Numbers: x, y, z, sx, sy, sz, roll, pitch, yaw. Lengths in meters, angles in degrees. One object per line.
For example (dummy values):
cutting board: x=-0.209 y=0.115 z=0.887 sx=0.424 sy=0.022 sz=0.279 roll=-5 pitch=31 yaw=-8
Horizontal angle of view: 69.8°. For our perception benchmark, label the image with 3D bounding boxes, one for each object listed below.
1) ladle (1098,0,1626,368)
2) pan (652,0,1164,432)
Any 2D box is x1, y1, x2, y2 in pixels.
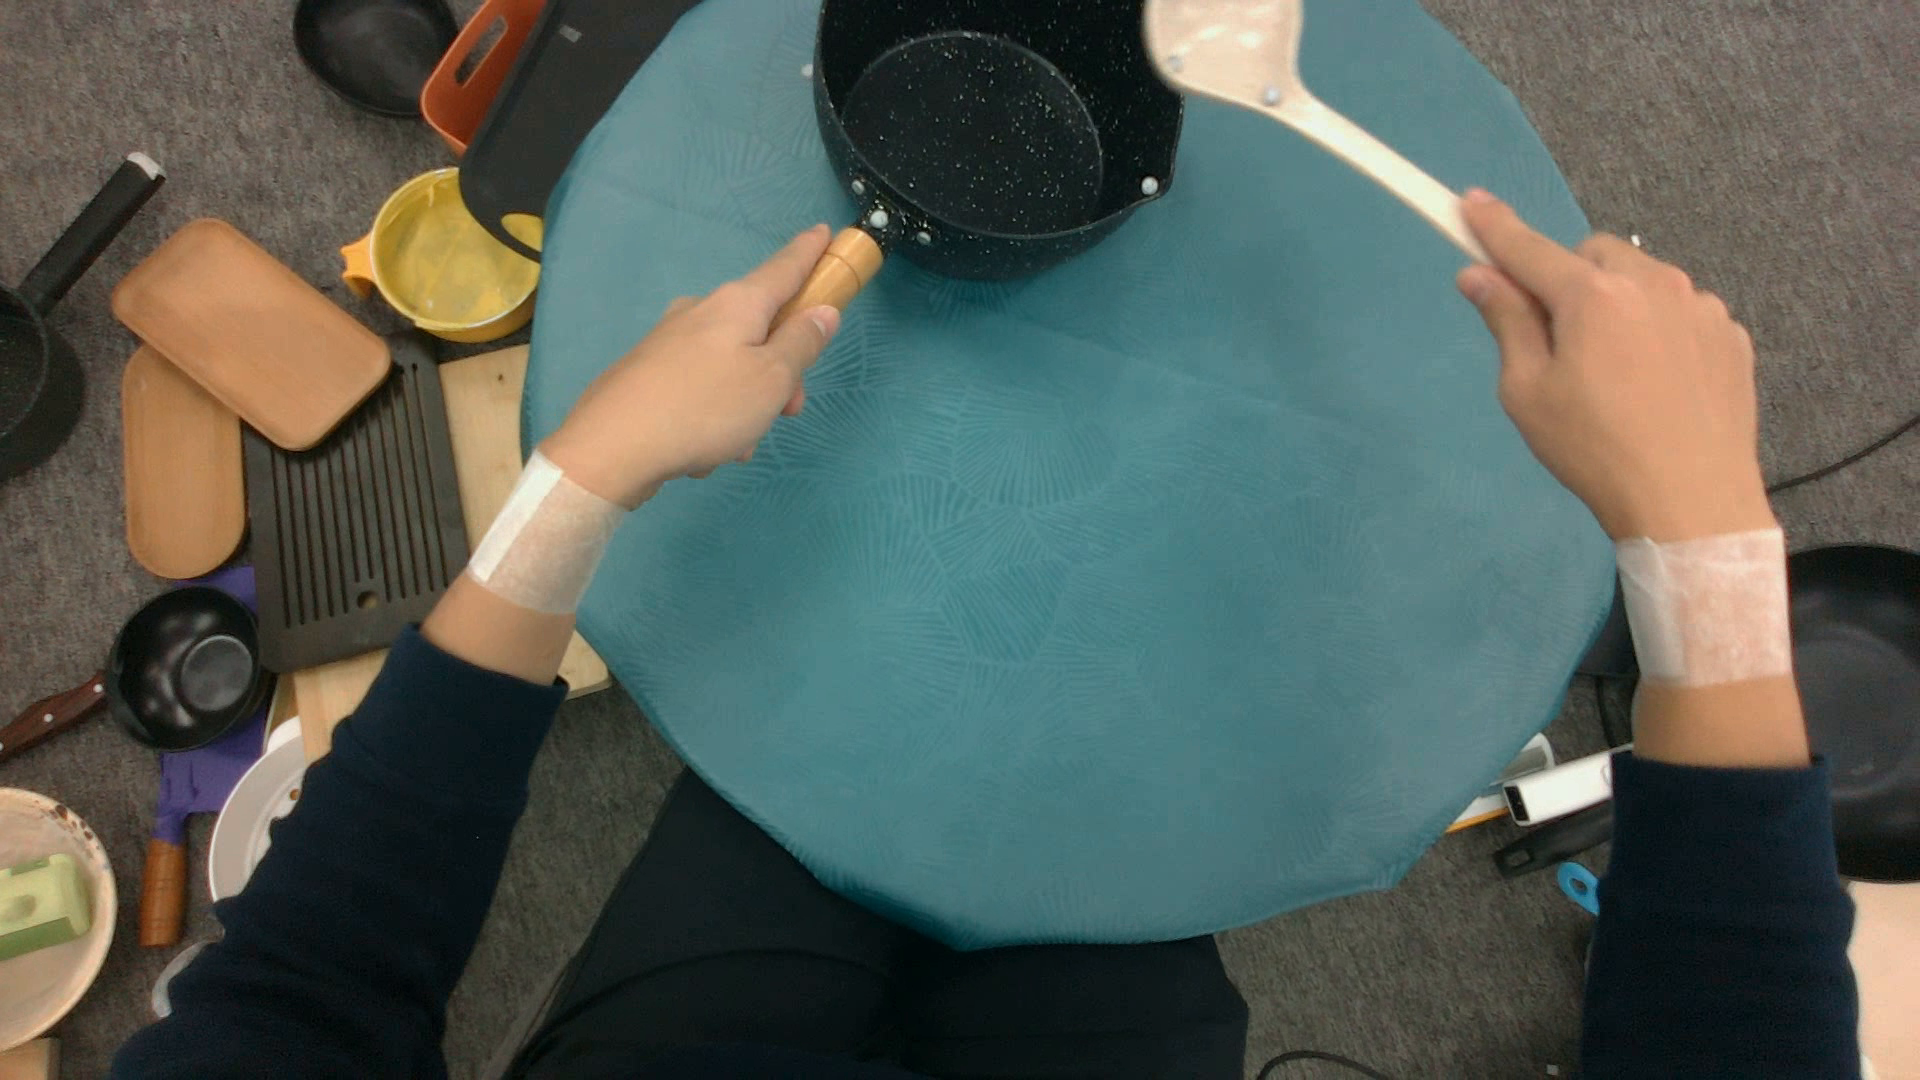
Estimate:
ladle: x=0.168 y=-0.172 z=0.569 sx=0.090 sy=0.069 sz=0.275 roll=-30 pitch=59 yaw=-30
pan: x=-0.036 y=-0.168 z=0.674 sx=0.207 sy=0.108 sz=0.344 roll=35 pitch=69 yaw=-3
